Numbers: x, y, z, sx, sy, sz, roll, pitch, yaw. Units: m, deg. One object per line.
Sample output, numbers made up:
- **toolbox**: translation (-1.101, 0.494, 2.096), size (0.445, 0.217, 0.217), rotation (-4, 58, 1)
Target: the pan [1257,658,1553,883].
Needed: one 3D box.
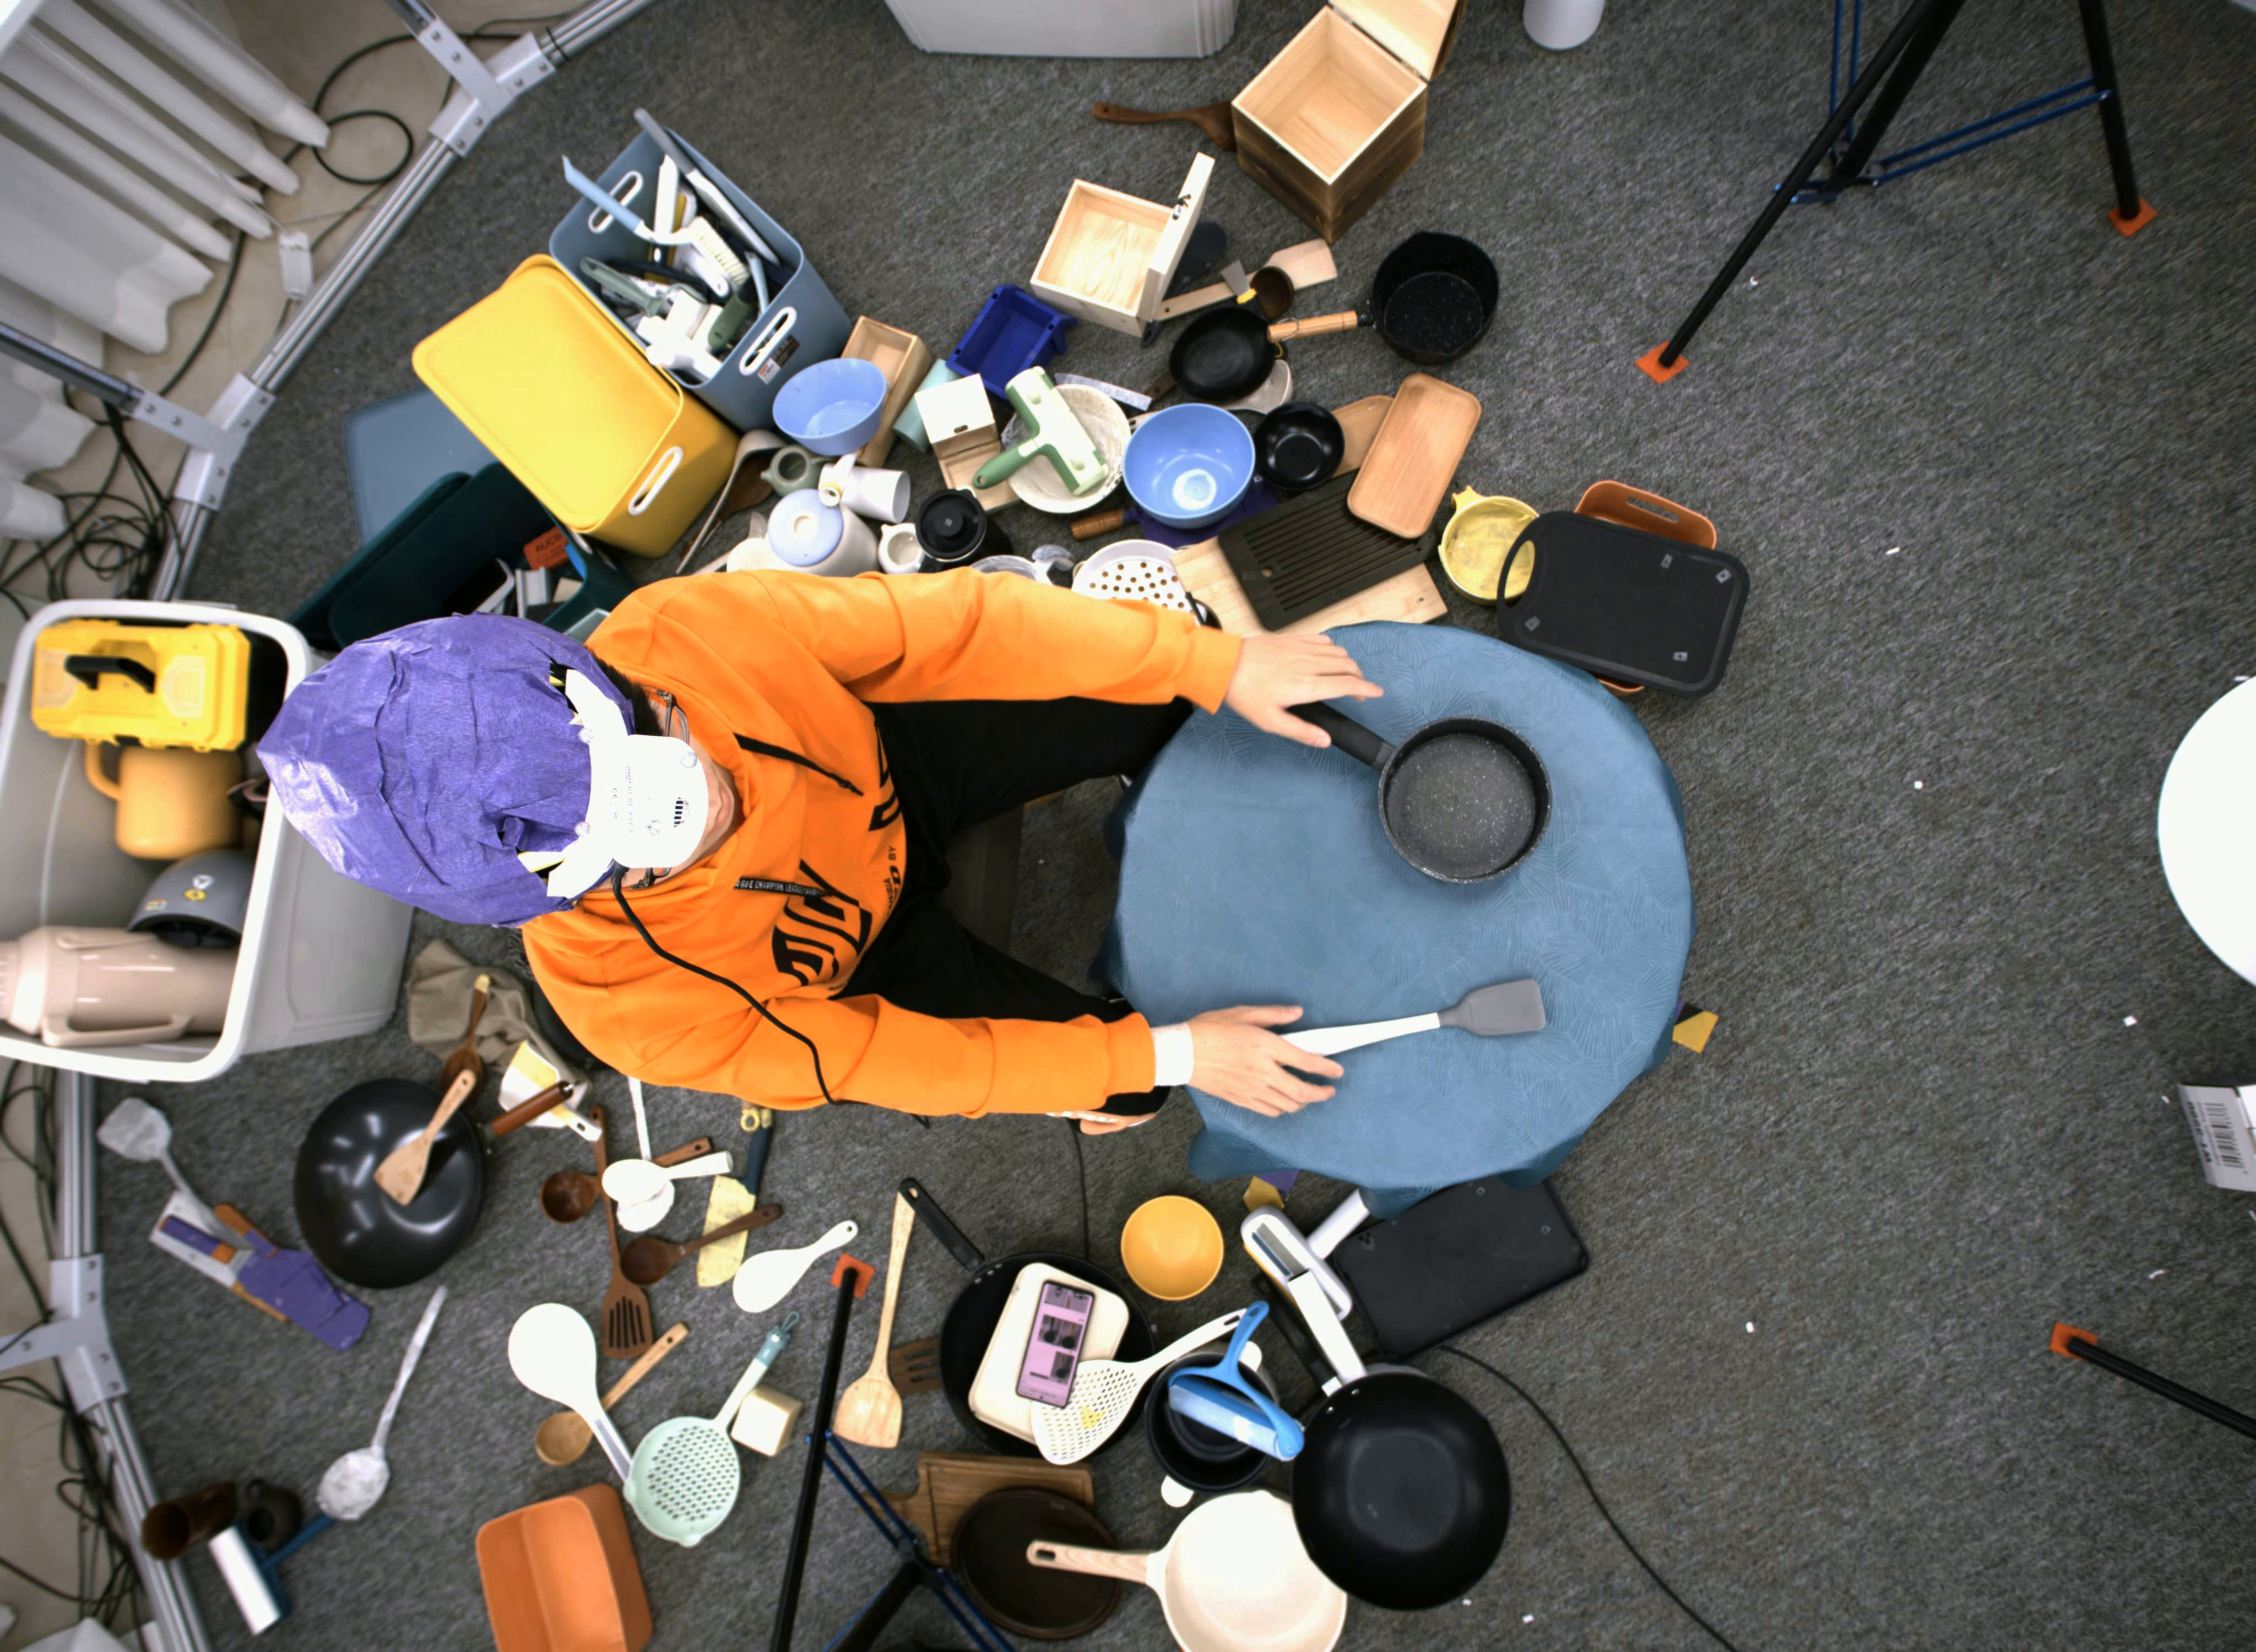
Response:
- **pan**: translation (0.278, -0.069, 1.423), size (0.328, 0.086, 0.172), rotation (33, 92, 9)

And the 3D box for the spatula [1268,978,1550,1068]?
- **spatula**: translation (0.289, 0.208, 1.433), size (0.289, 0.032, 0.058), rotation (-12, 81, 10)
